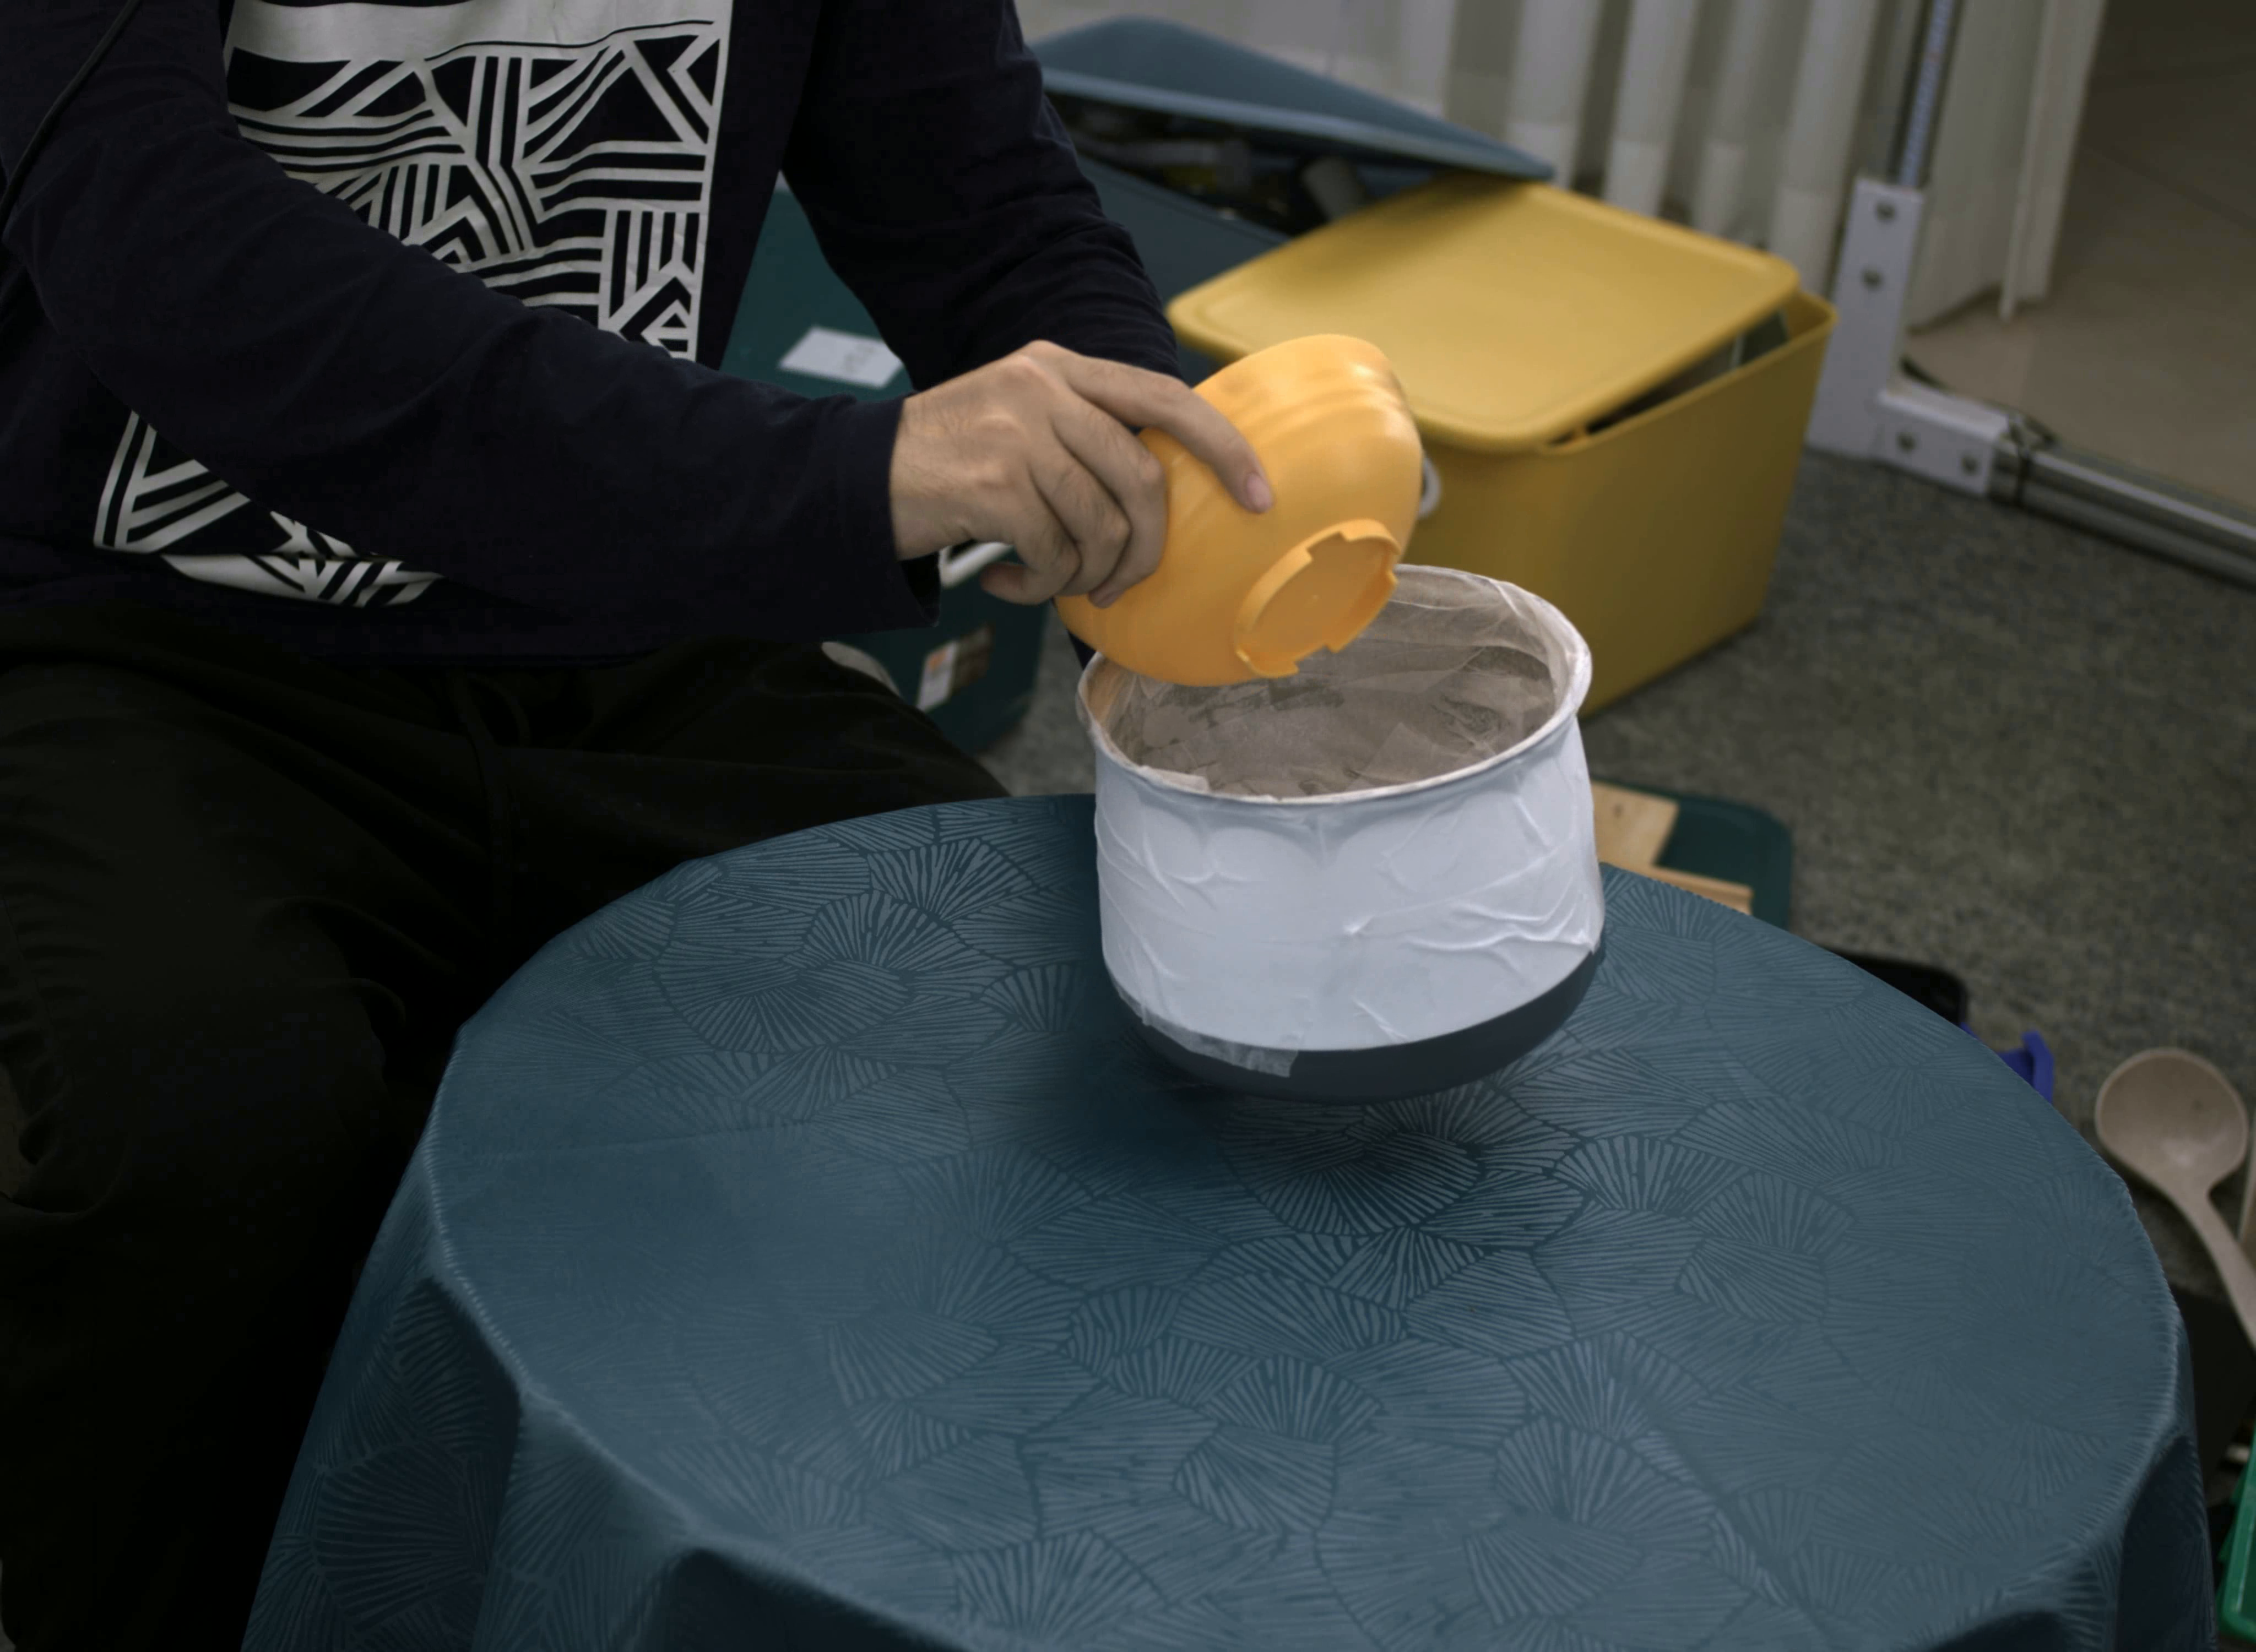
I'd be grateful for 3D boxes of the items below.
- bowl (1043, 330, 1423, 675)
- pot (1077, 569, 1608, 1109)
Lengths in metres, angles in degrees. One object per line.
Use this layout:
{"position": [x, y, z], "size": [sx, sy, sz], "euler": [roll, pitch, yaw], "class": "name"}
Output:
{"position": [0.047, -0.097, 1.817], "size": [0.144, 0.145, 0.060], "euler": [-12, 54, -33], "class": "bowl"}
{"position": [0.068, -0.005, 1.875], "size": [0.178, 0.136, 0.235], "euler": [-13, 27, -13], "class": "pot"}
